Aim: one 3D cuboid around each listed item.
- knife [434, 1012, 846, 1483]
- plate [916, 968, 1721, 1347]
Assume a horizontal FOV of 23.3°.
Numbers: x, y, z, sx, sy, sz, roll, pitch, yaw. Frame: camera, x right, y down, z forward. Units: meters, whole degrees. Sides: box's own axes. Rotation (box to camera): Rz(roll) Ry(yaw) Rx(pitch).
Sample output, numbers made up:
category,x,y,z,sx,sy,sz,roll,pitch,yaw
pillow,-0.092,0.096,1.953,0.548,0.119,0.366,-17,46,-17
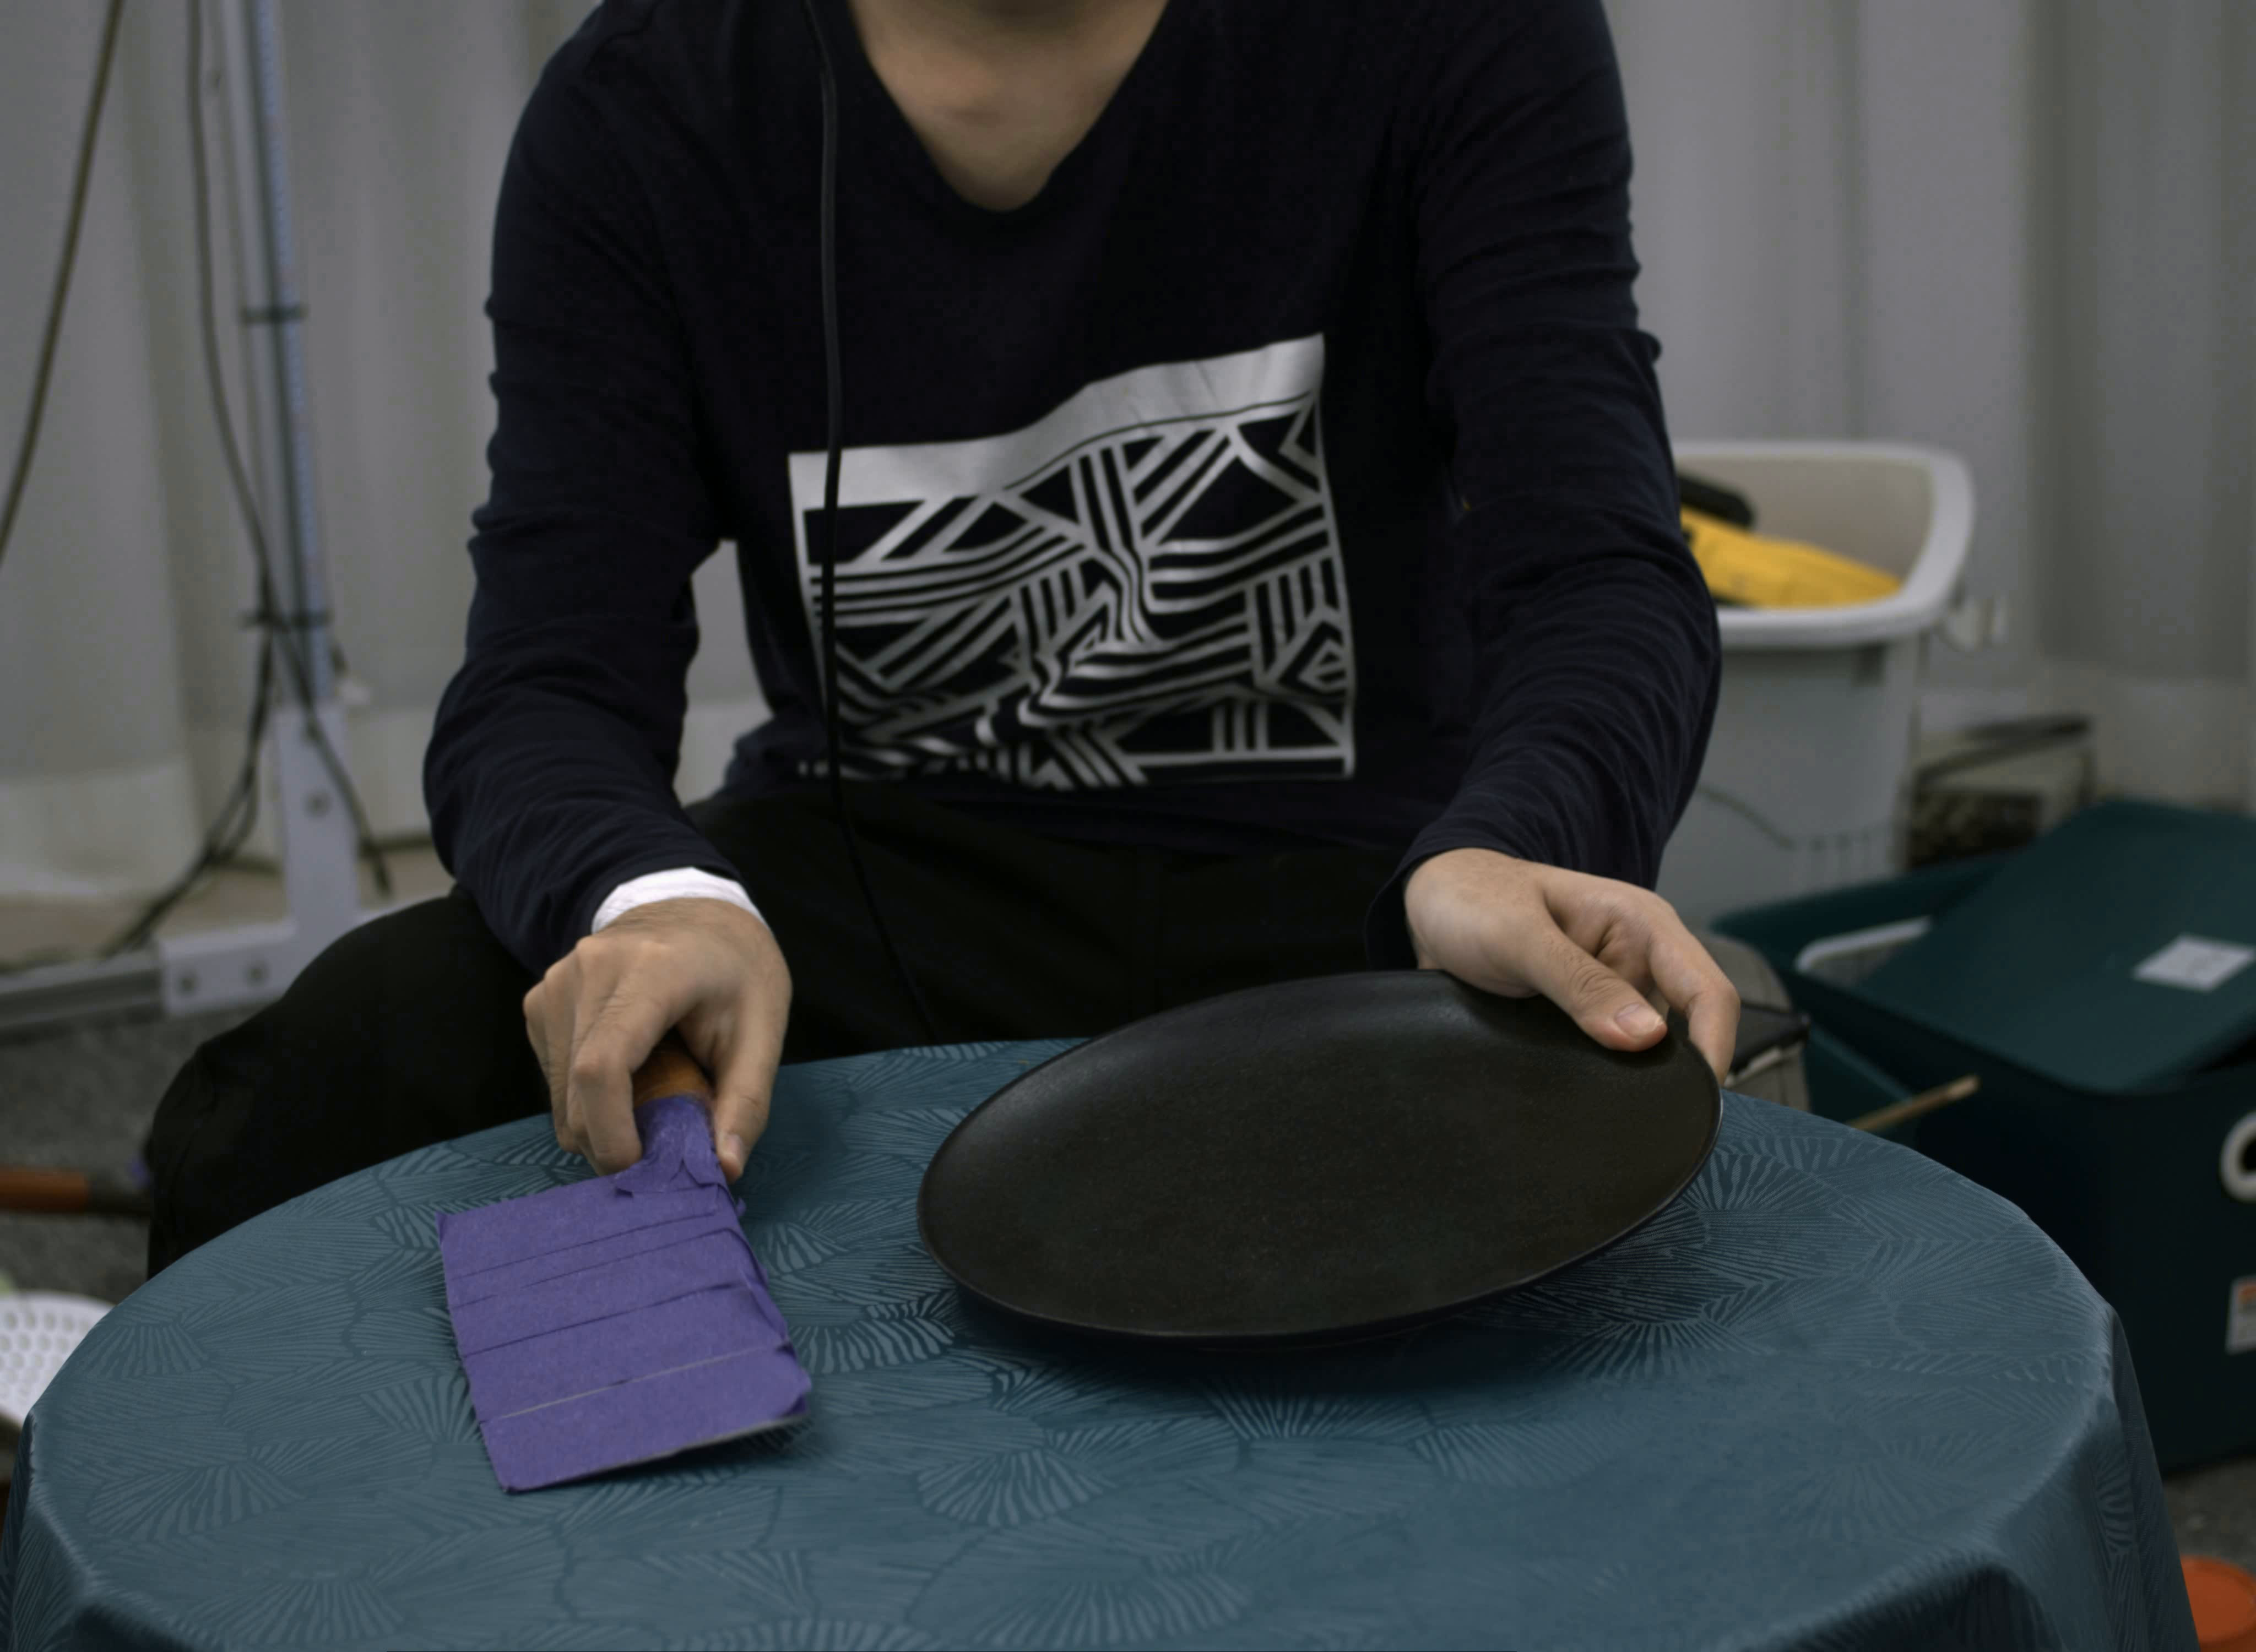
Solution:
category,x,y,z,sx,sy,sz,roll,pitch,yaw
knife,-0.160,0.122,1.641,0.103,0.032,0.318,-14,17,-9
plate,0.058,0.103,1.640,0.243,0.023,0.247,-9,22,3
